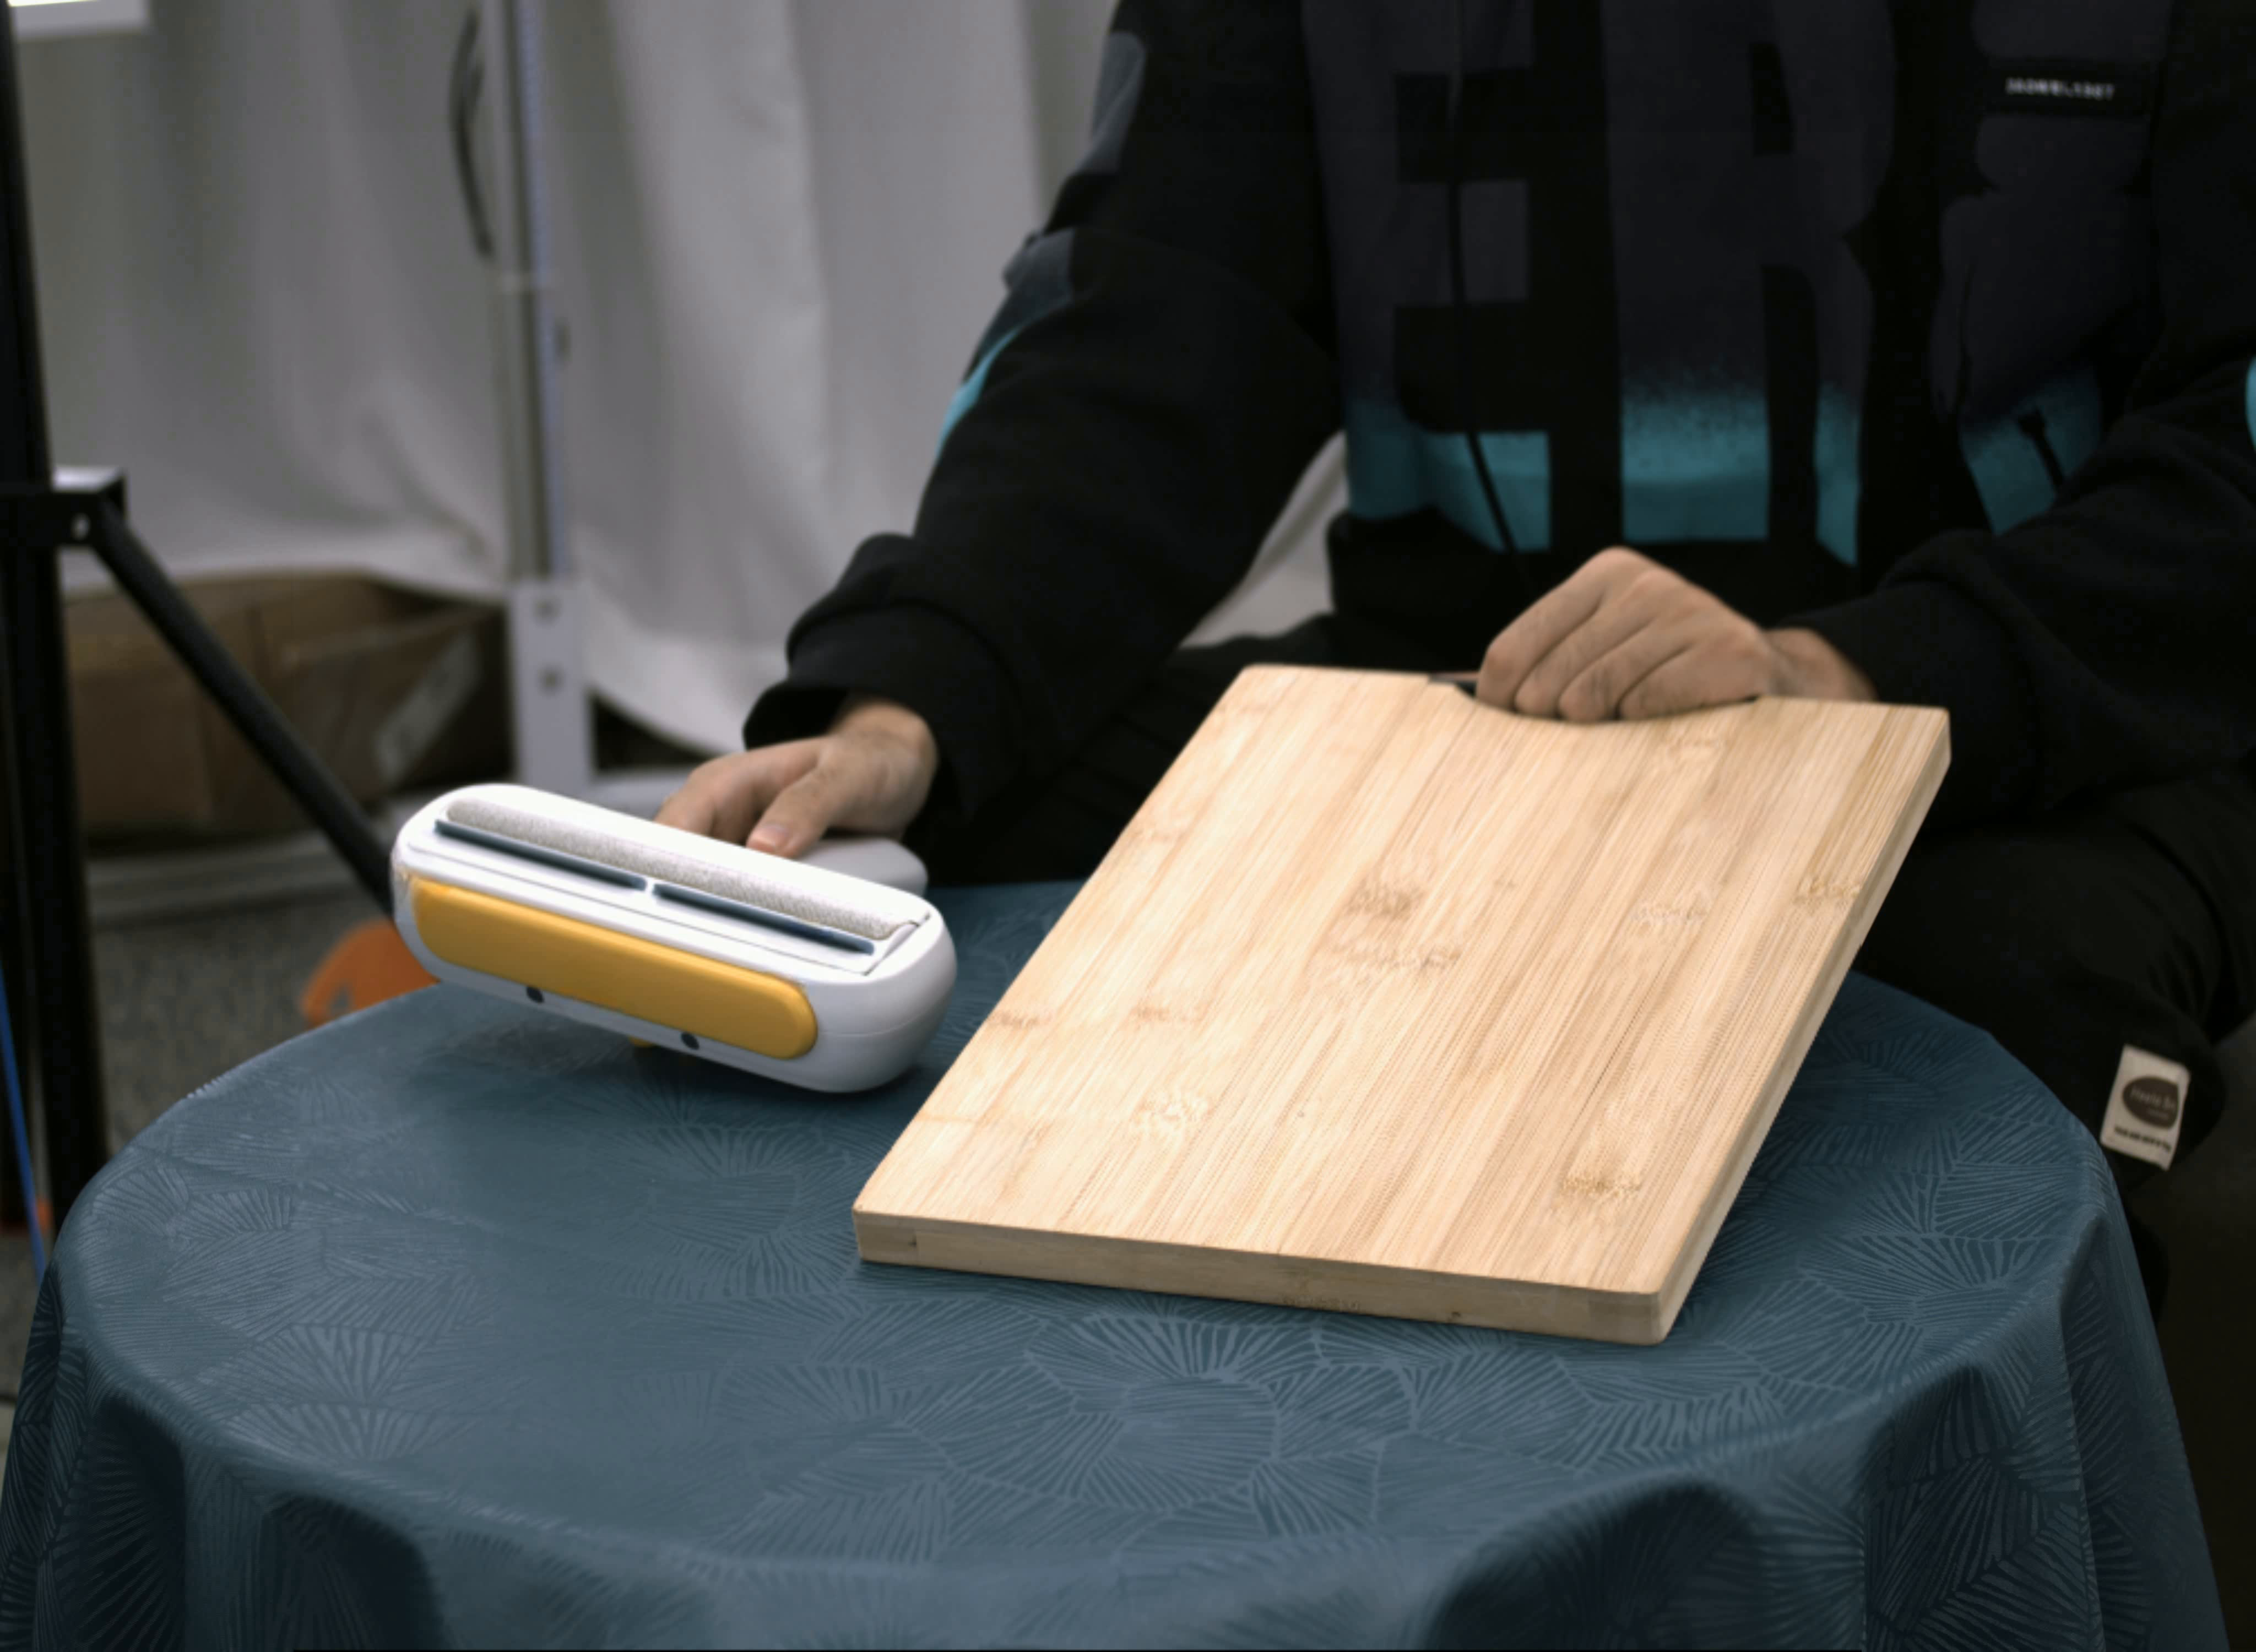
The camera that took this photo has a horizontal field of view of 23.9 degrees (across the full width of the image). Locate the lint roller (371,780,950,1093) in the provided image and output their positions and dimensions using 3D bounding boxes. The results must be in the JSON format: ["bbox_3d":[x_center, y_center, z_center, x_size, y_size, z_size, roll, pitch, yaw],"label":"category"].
[{"bbox_3d":[-0.123,0.023,1.741,0.196,0.074,0.189,12,23,30],"label":"lint roller"}]

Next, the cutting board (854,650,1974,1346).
[{"bbox_3d":[0.095,0.041,1.600,0.254,0.023,0.346,4,31,22],"label":"cutting board"}]
